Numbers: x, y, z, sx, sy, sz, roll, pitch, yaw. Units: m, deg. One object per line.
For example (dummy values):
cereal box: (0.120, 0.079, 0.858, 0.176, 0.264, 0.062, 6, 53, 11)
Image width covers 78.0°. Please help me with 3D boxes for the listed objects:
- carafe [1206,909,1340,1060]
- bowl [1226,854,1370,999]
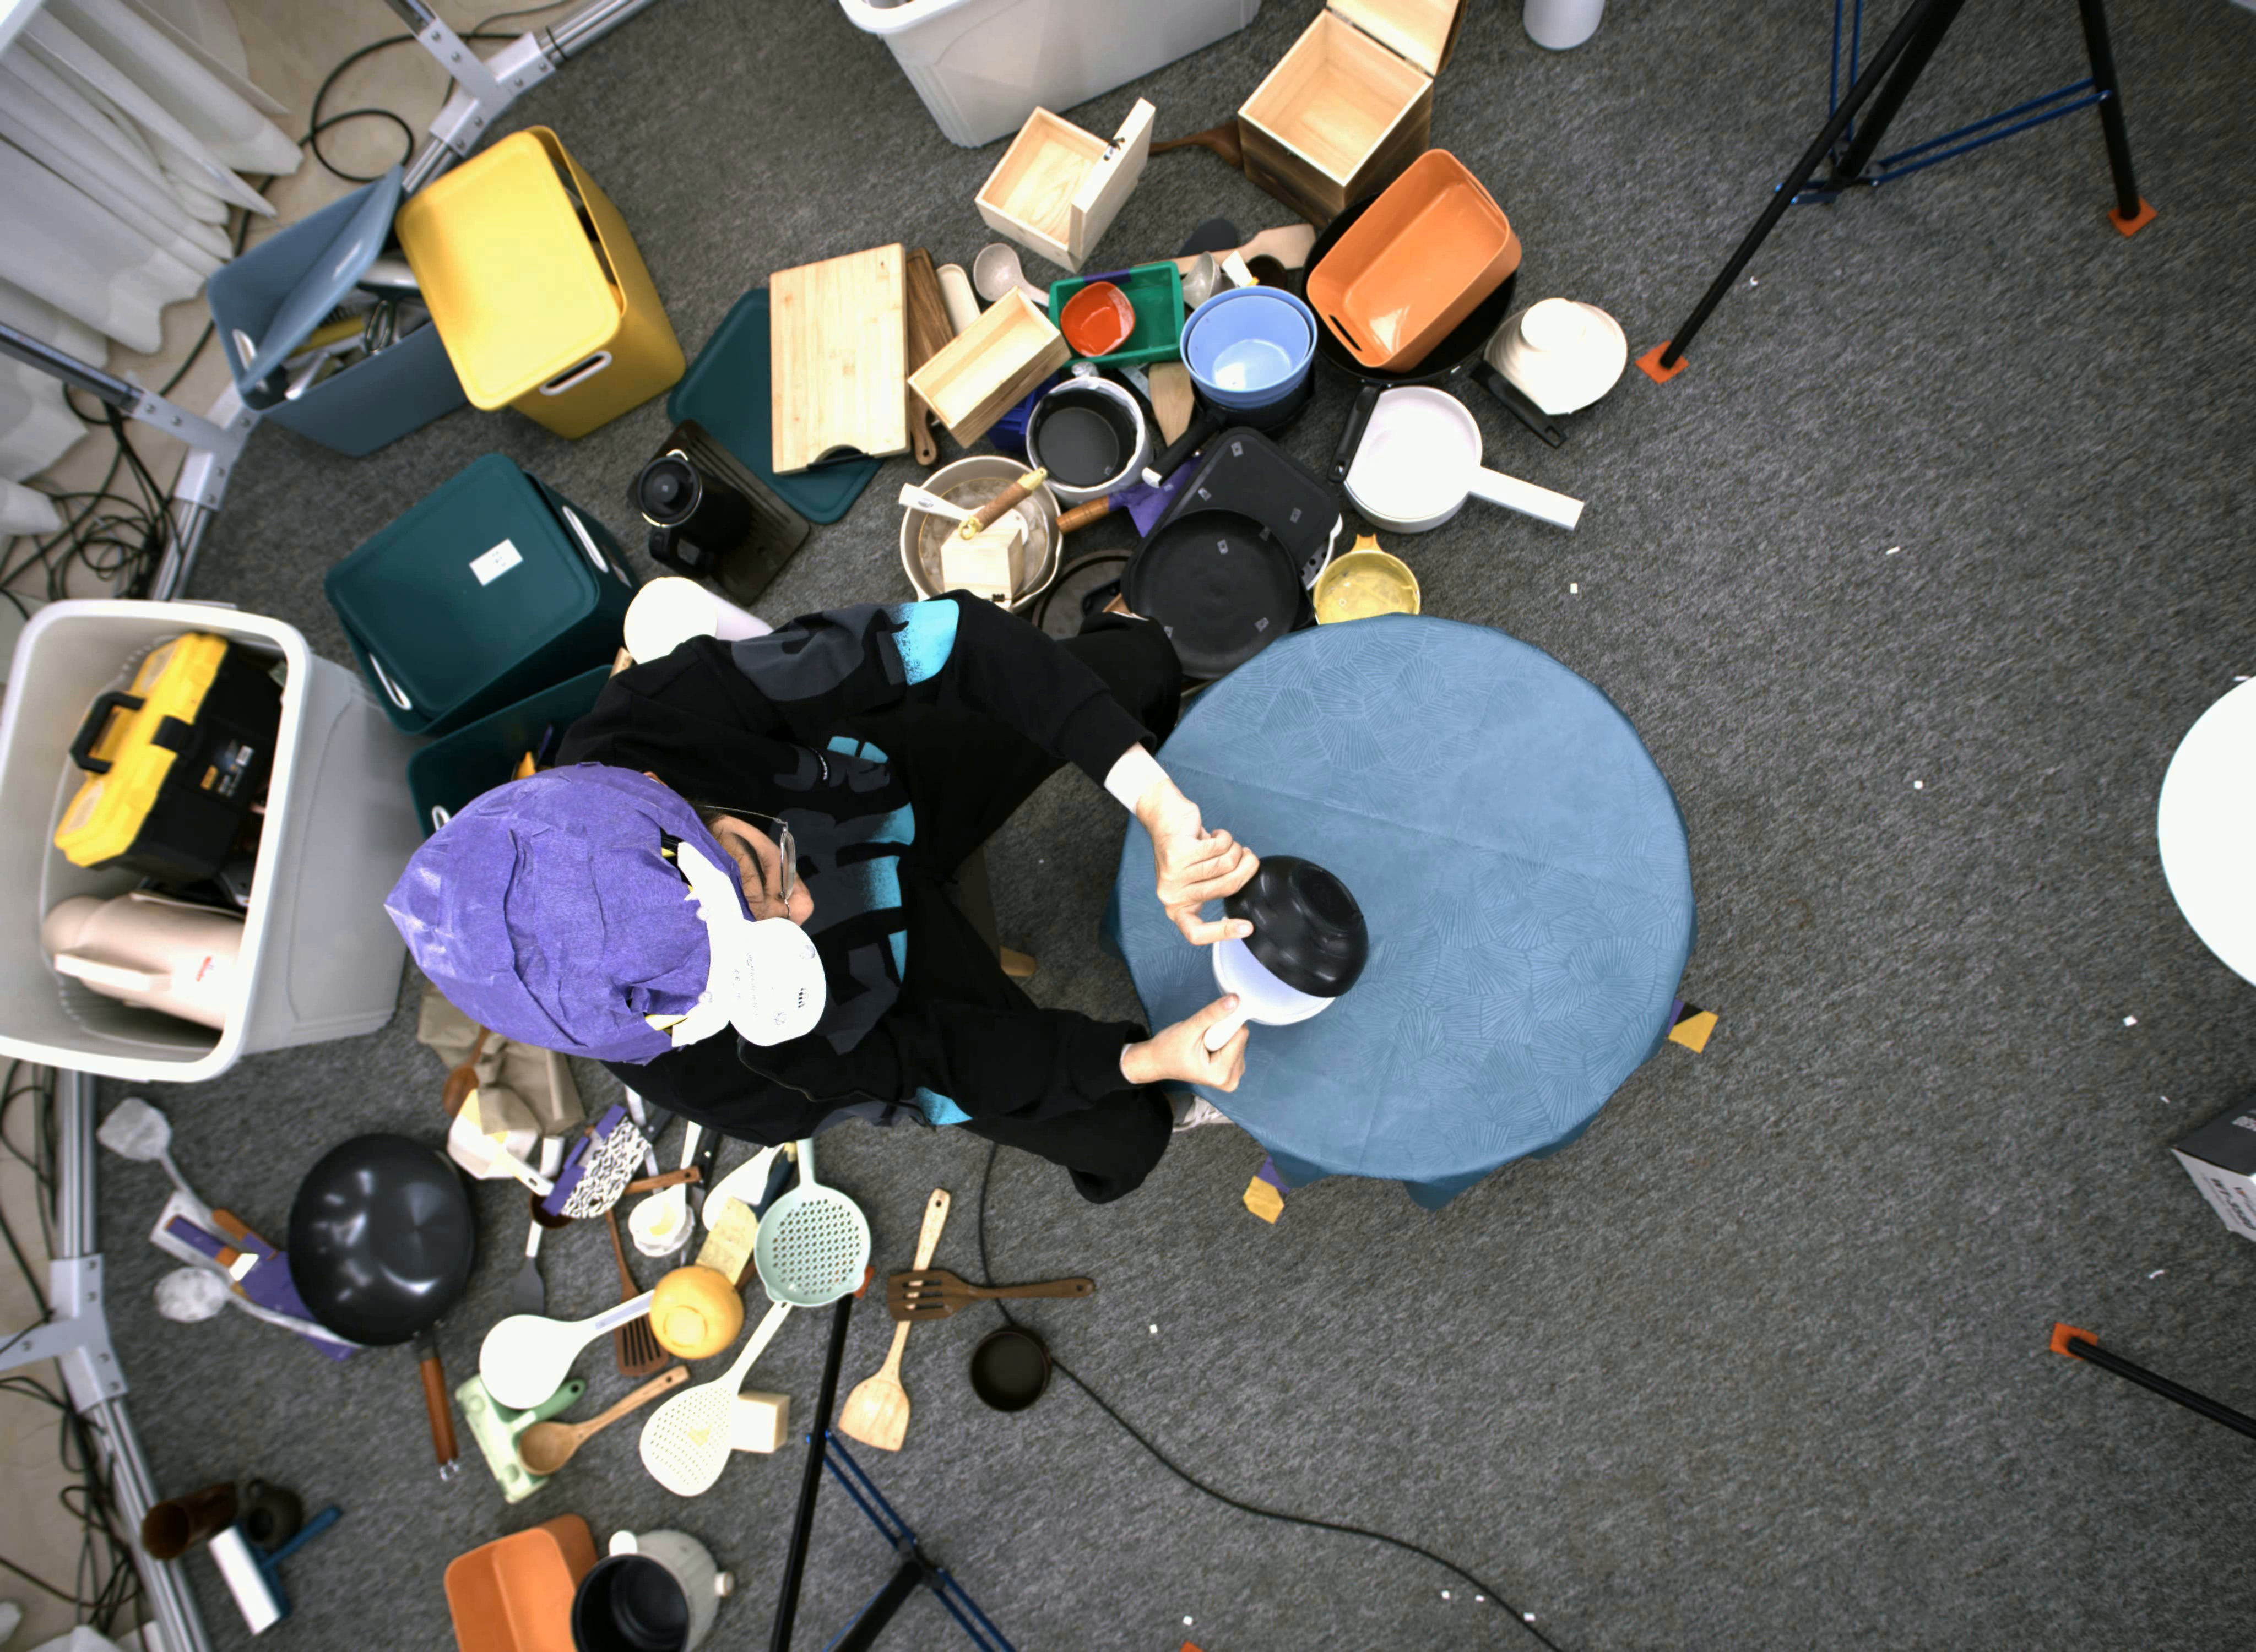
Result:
carafe: (0.134, 0.147, 1.353, 0.132, 0.183, 0.191, 36, 89, 9)
bowl: (0.152, 0.072, 1.152, 0.139, 0.137, 0.051, 49, 126, 10)
